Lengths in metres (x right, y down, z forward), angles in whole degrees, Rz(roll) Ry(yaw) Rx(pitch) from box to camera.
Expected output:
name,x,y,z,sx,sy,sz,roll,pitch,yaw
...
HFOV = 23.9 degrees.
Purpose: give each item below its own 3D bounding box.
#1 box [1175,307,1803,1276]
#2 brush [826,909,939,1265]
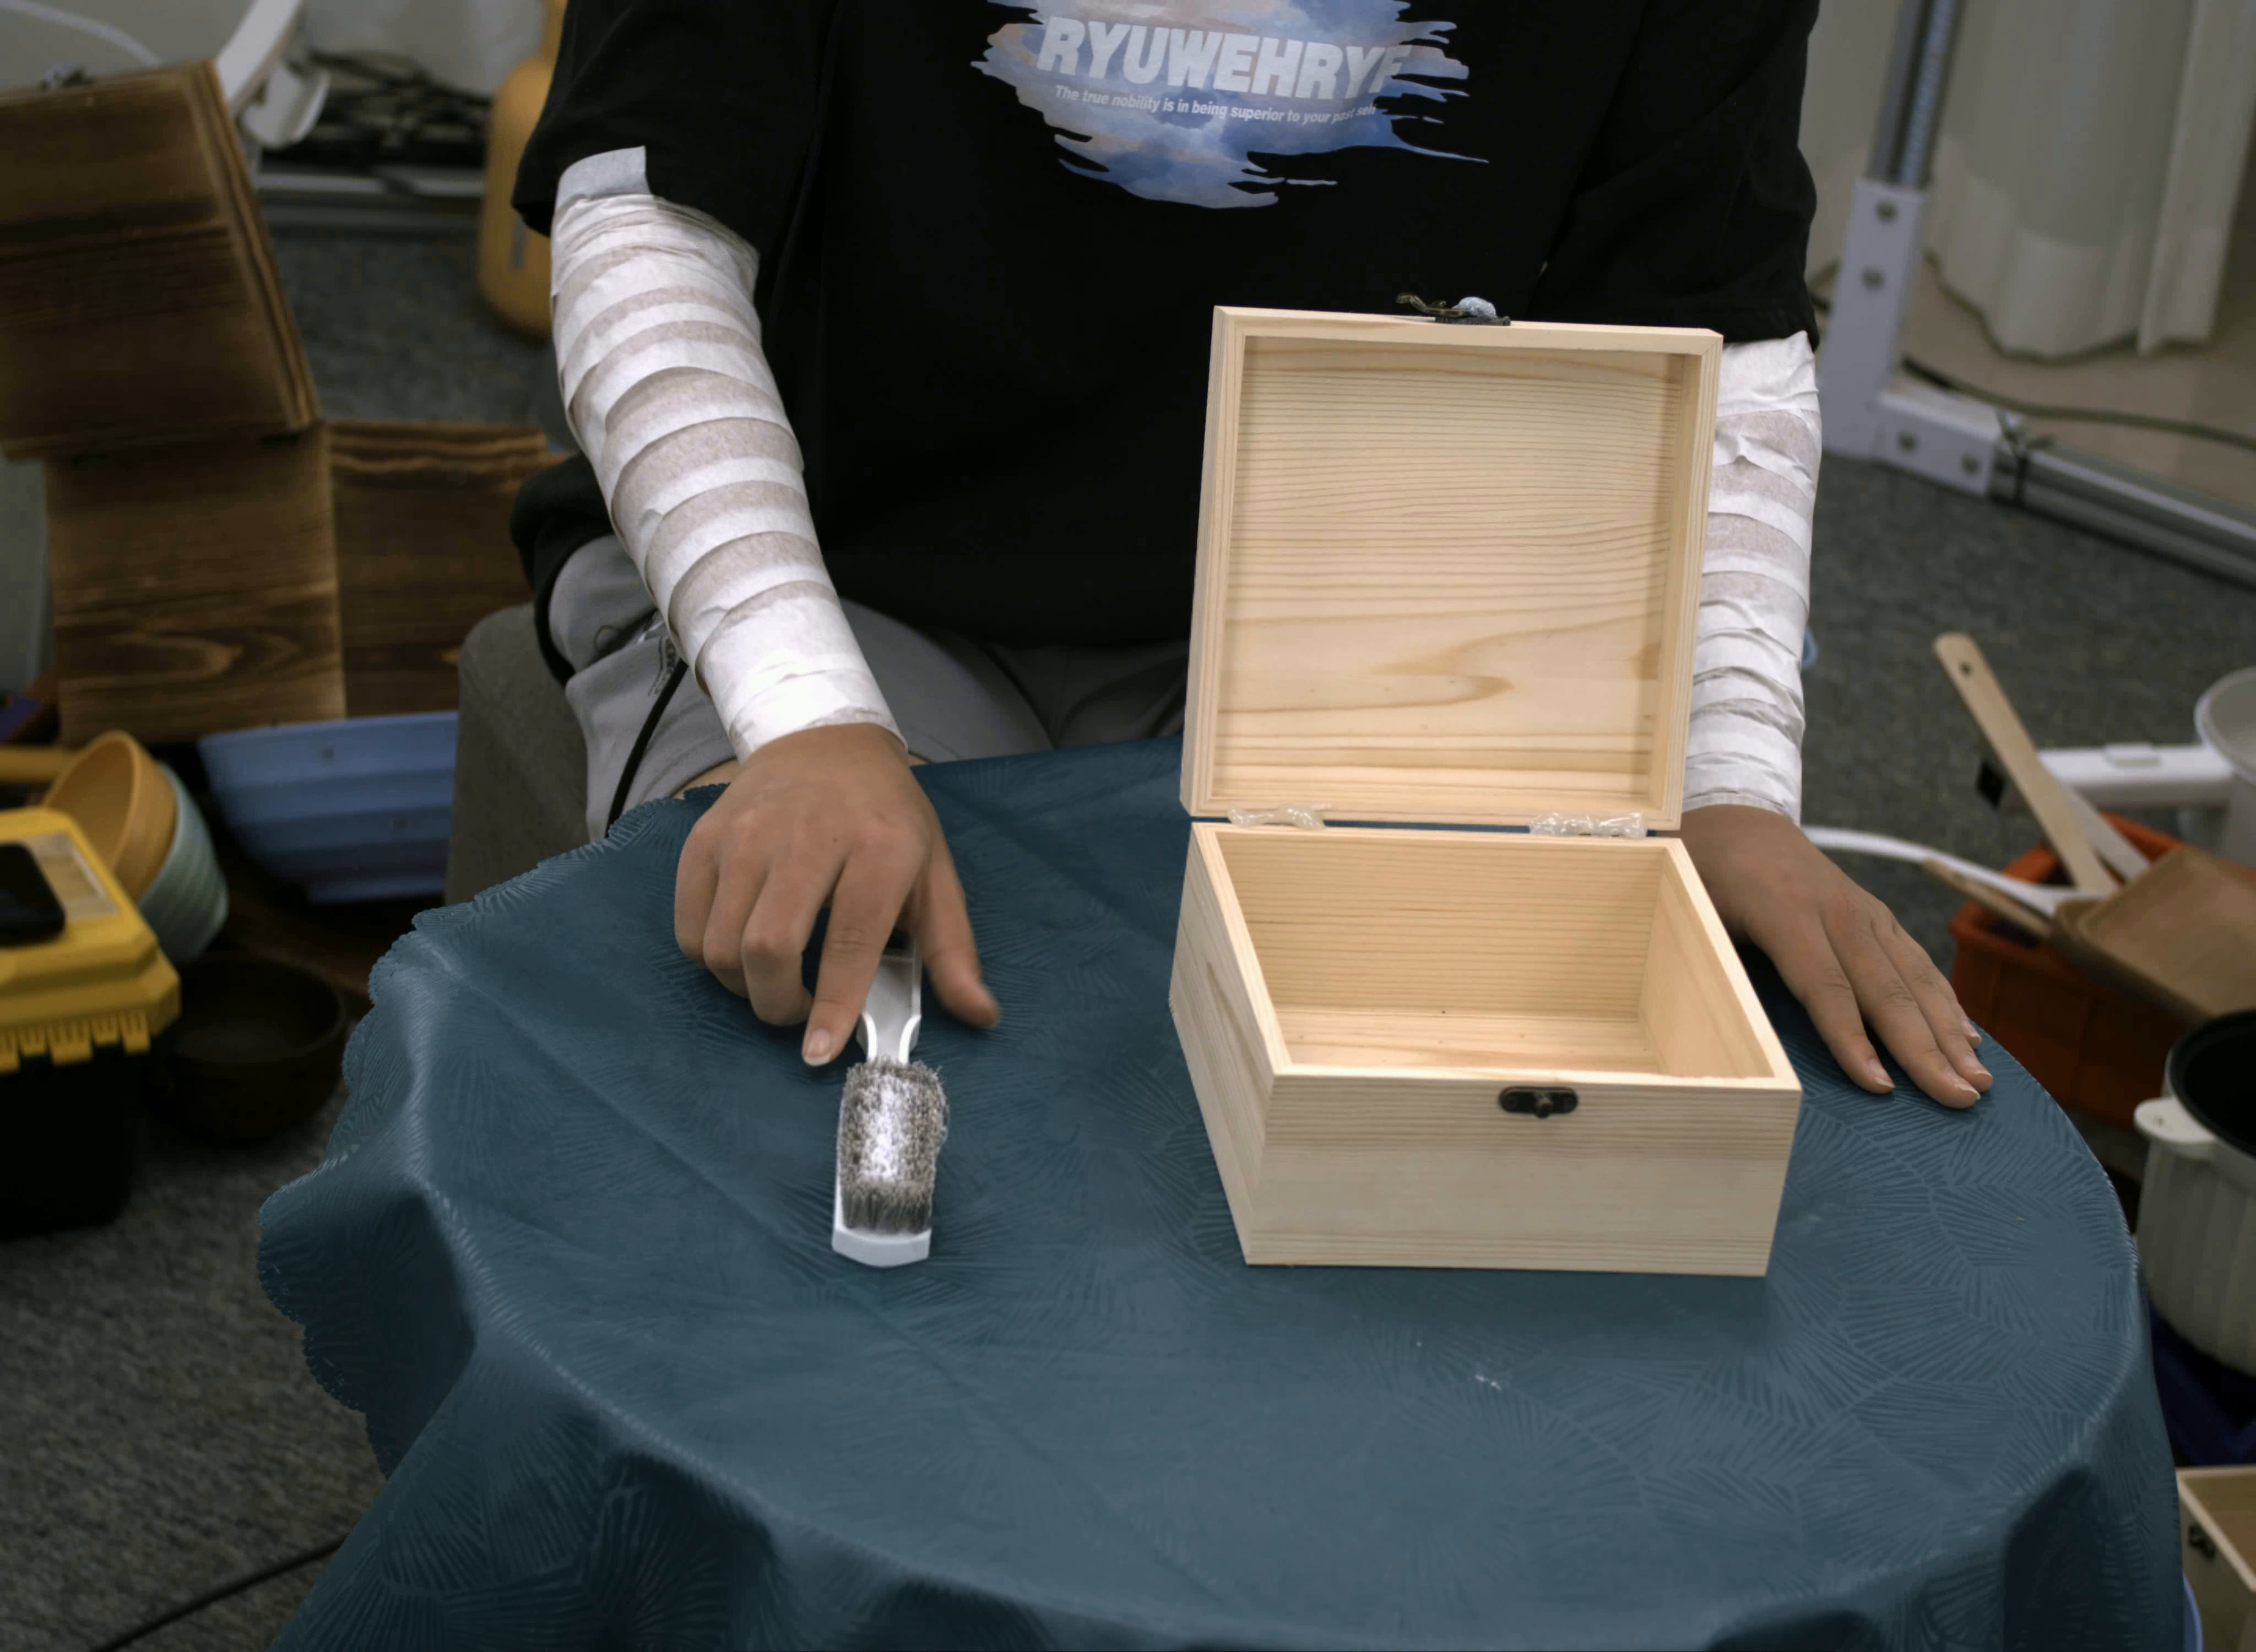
name,x,y,z,sx,sy,sz,roll,pitch,yaw
box,0.123,-0.017,1.837,0.181,0.252,0.267,0,27,-9
brush,-0.080,0.072,1.833,0.034,0.050,0.245,6,27,-2
